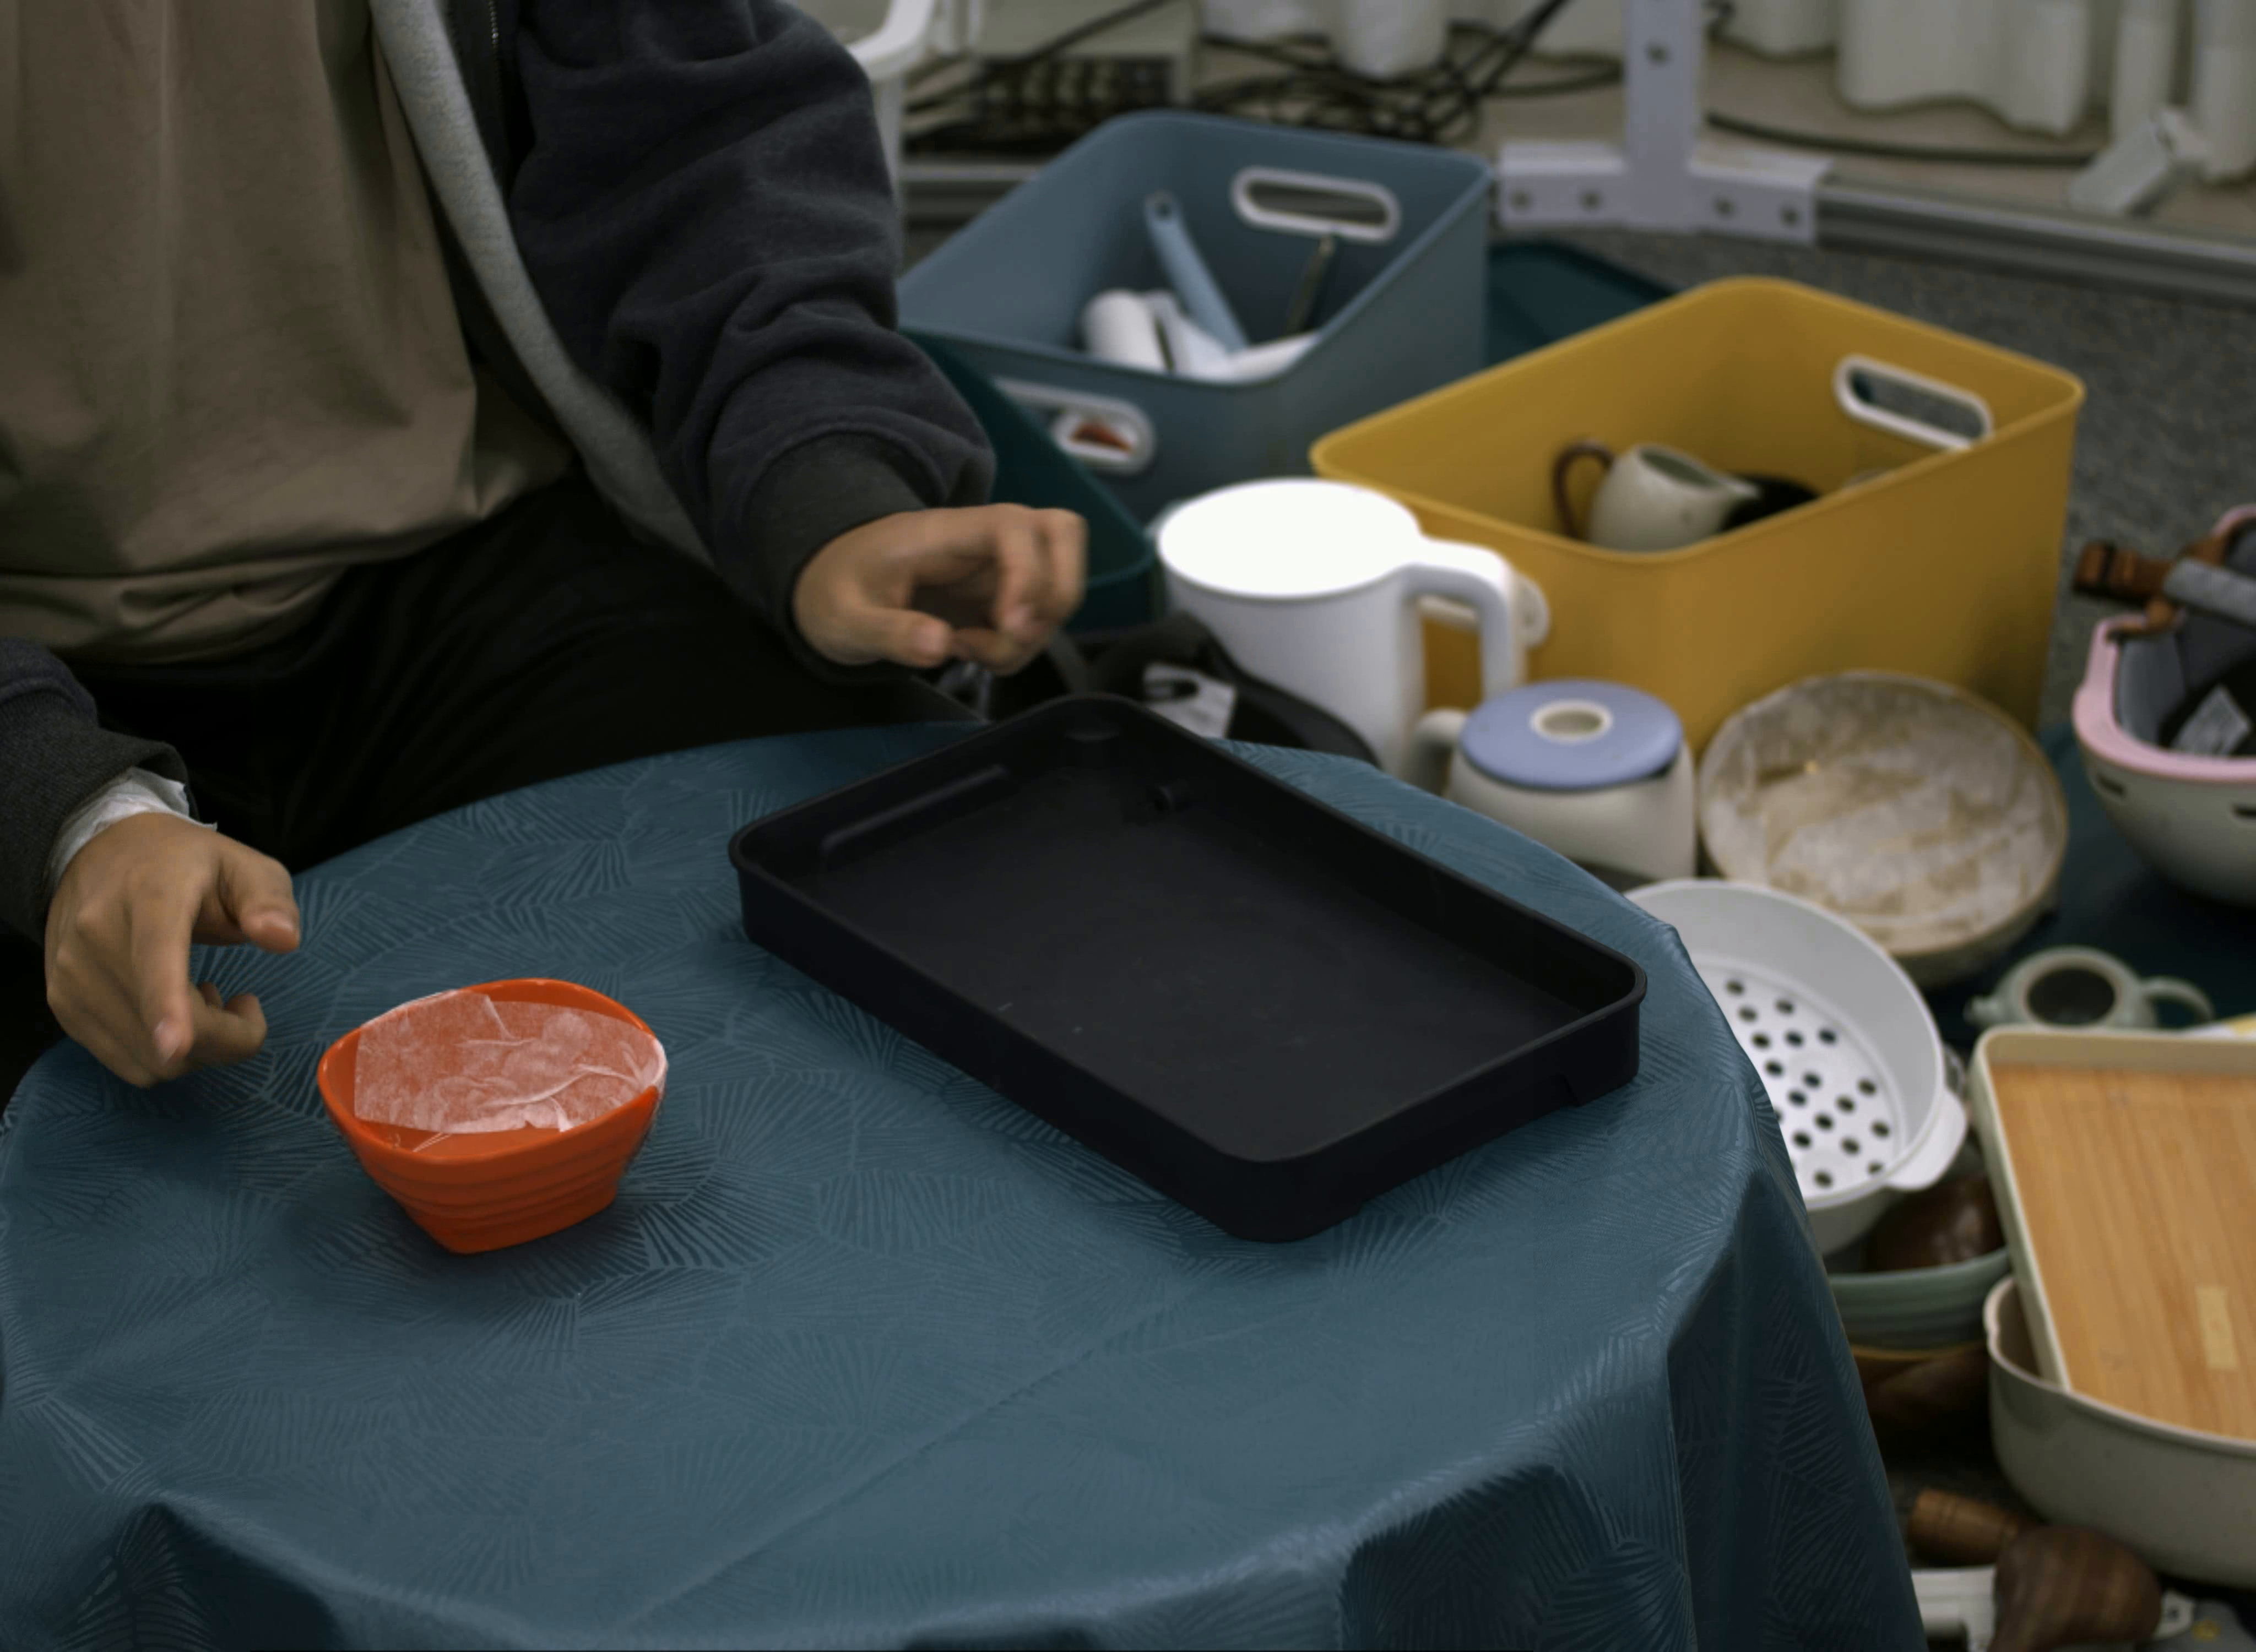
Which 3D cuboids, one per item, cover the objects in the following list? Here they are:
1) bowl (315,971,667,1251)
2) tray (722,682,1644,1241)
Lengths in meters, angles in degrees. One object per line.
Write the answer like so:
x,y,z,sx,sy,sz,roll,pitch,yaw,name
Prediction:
-0.210,0.099,1.868,0.118,0.051,0.121,-2,29,2,bowl
0.015,0.042,1.972,0.186,0.036,0.318,-22,34,-33,tray
